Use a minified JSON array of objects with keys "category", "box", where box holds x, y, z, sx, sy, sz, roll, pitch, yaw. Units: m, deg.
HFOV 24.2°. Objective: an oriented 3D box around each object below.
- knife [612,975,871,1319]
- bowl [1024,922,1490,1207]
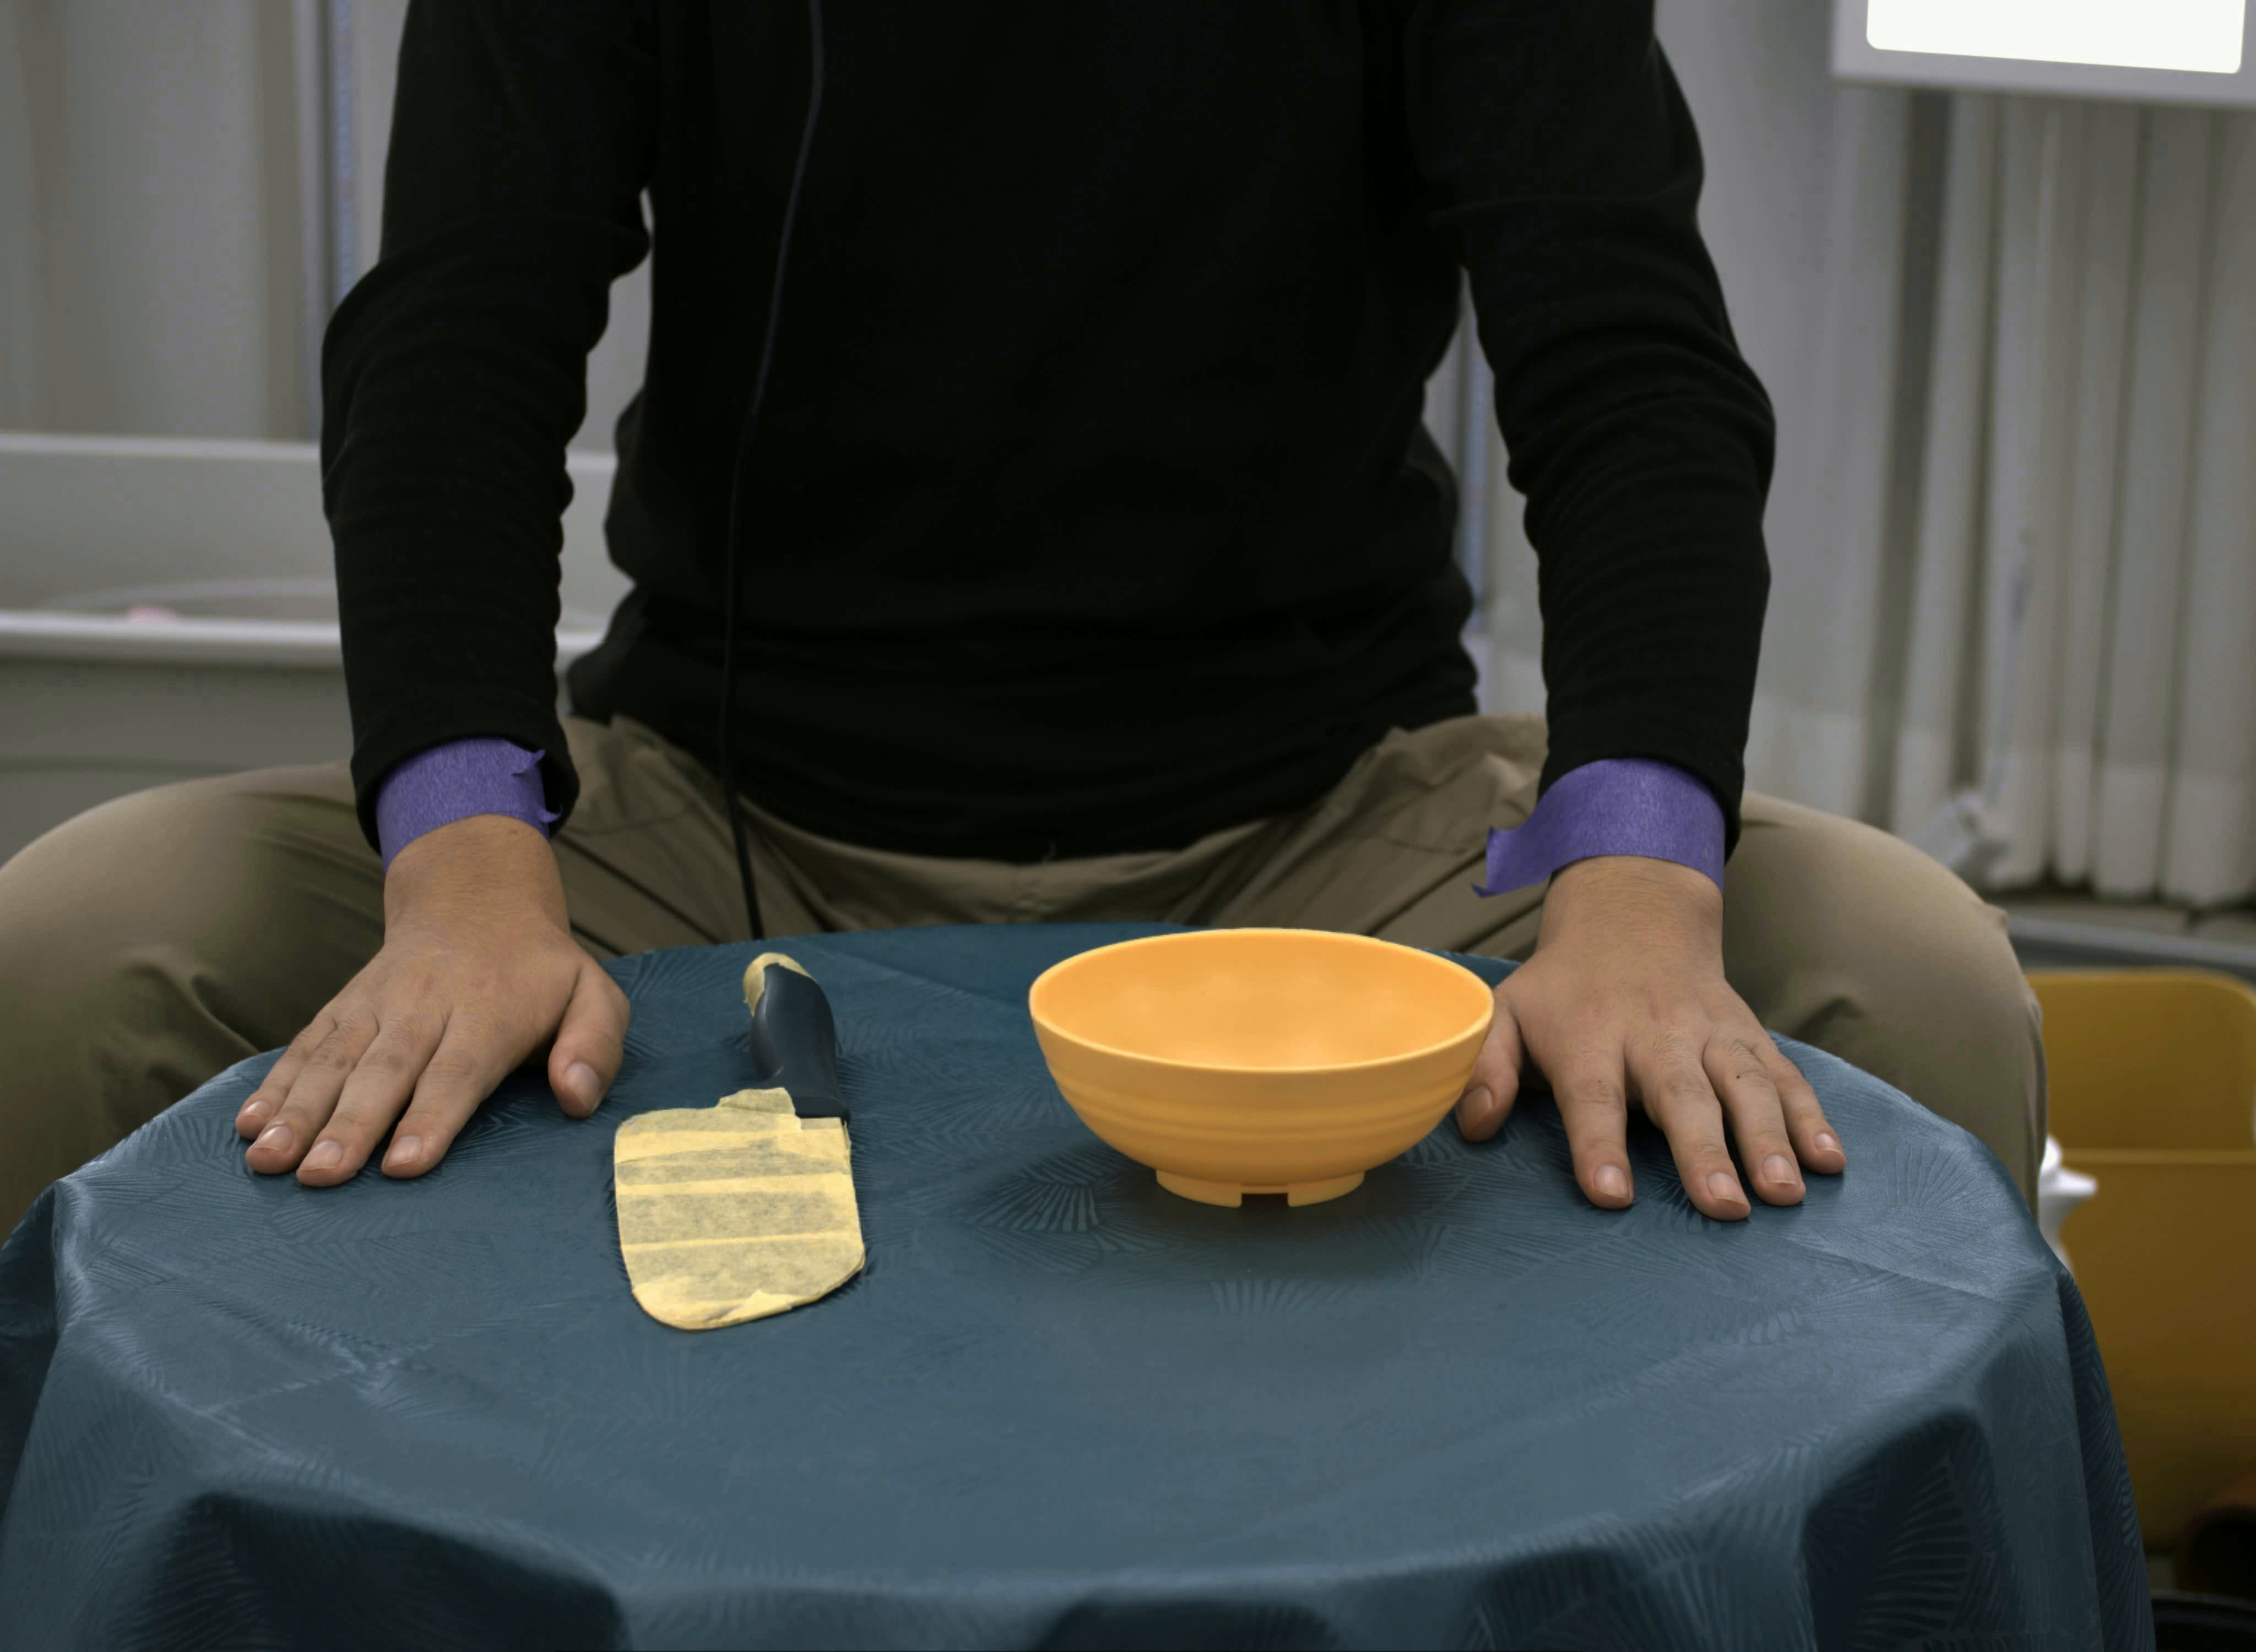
[{"category":"knife","box":[-0.121,0.099,1.640,0.081,0.027,0.287,1,17,-4]},{"category":"bowl","box":[0.039,0.079,1.633,0.145,0.060,0.144,3,16,0]}]
